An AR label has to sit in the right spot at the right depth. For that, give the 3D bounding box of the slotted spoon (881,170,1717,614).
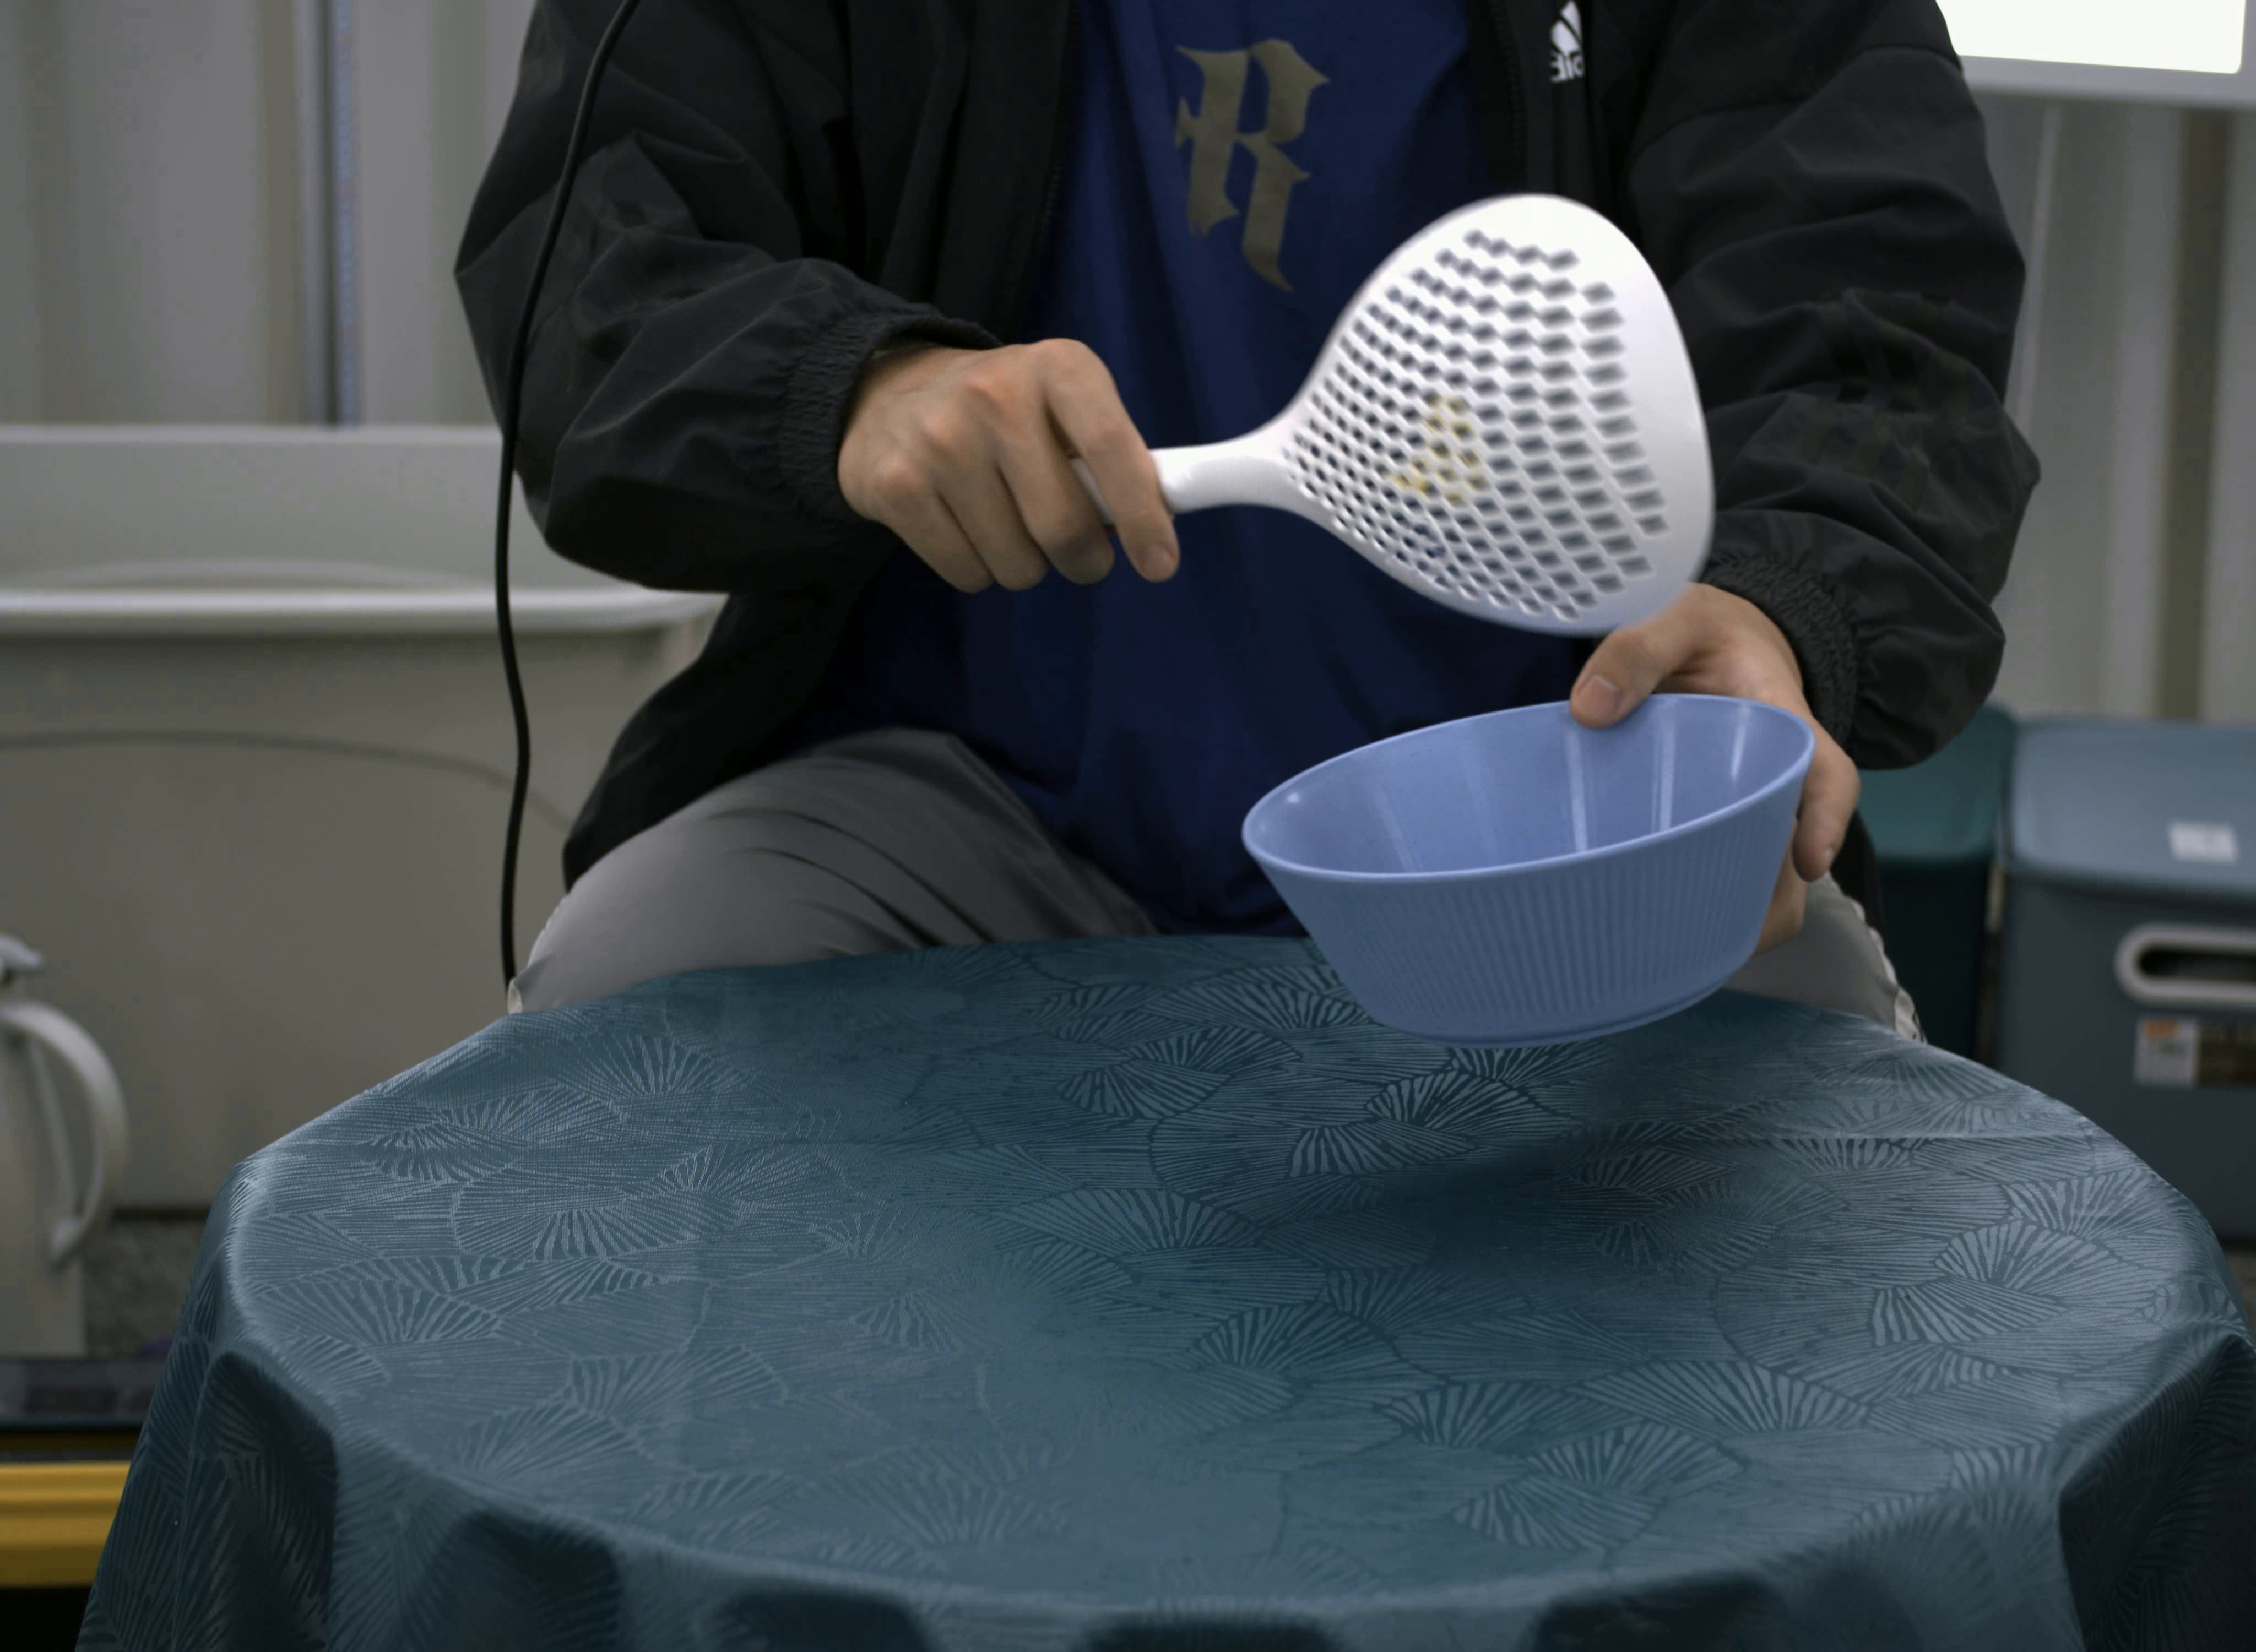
[{"bbox_3d":[0.043,-0.118,1.655,0.050,0.138,0.344,-25,13,-37],"label":"slotted spoon"}]

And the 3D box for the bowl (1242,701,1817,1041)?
[{"bbox_3d":[0.126,0.016,1.601,0.175,0.071,0.175,-9,15,3],"label":"bowl"}]
